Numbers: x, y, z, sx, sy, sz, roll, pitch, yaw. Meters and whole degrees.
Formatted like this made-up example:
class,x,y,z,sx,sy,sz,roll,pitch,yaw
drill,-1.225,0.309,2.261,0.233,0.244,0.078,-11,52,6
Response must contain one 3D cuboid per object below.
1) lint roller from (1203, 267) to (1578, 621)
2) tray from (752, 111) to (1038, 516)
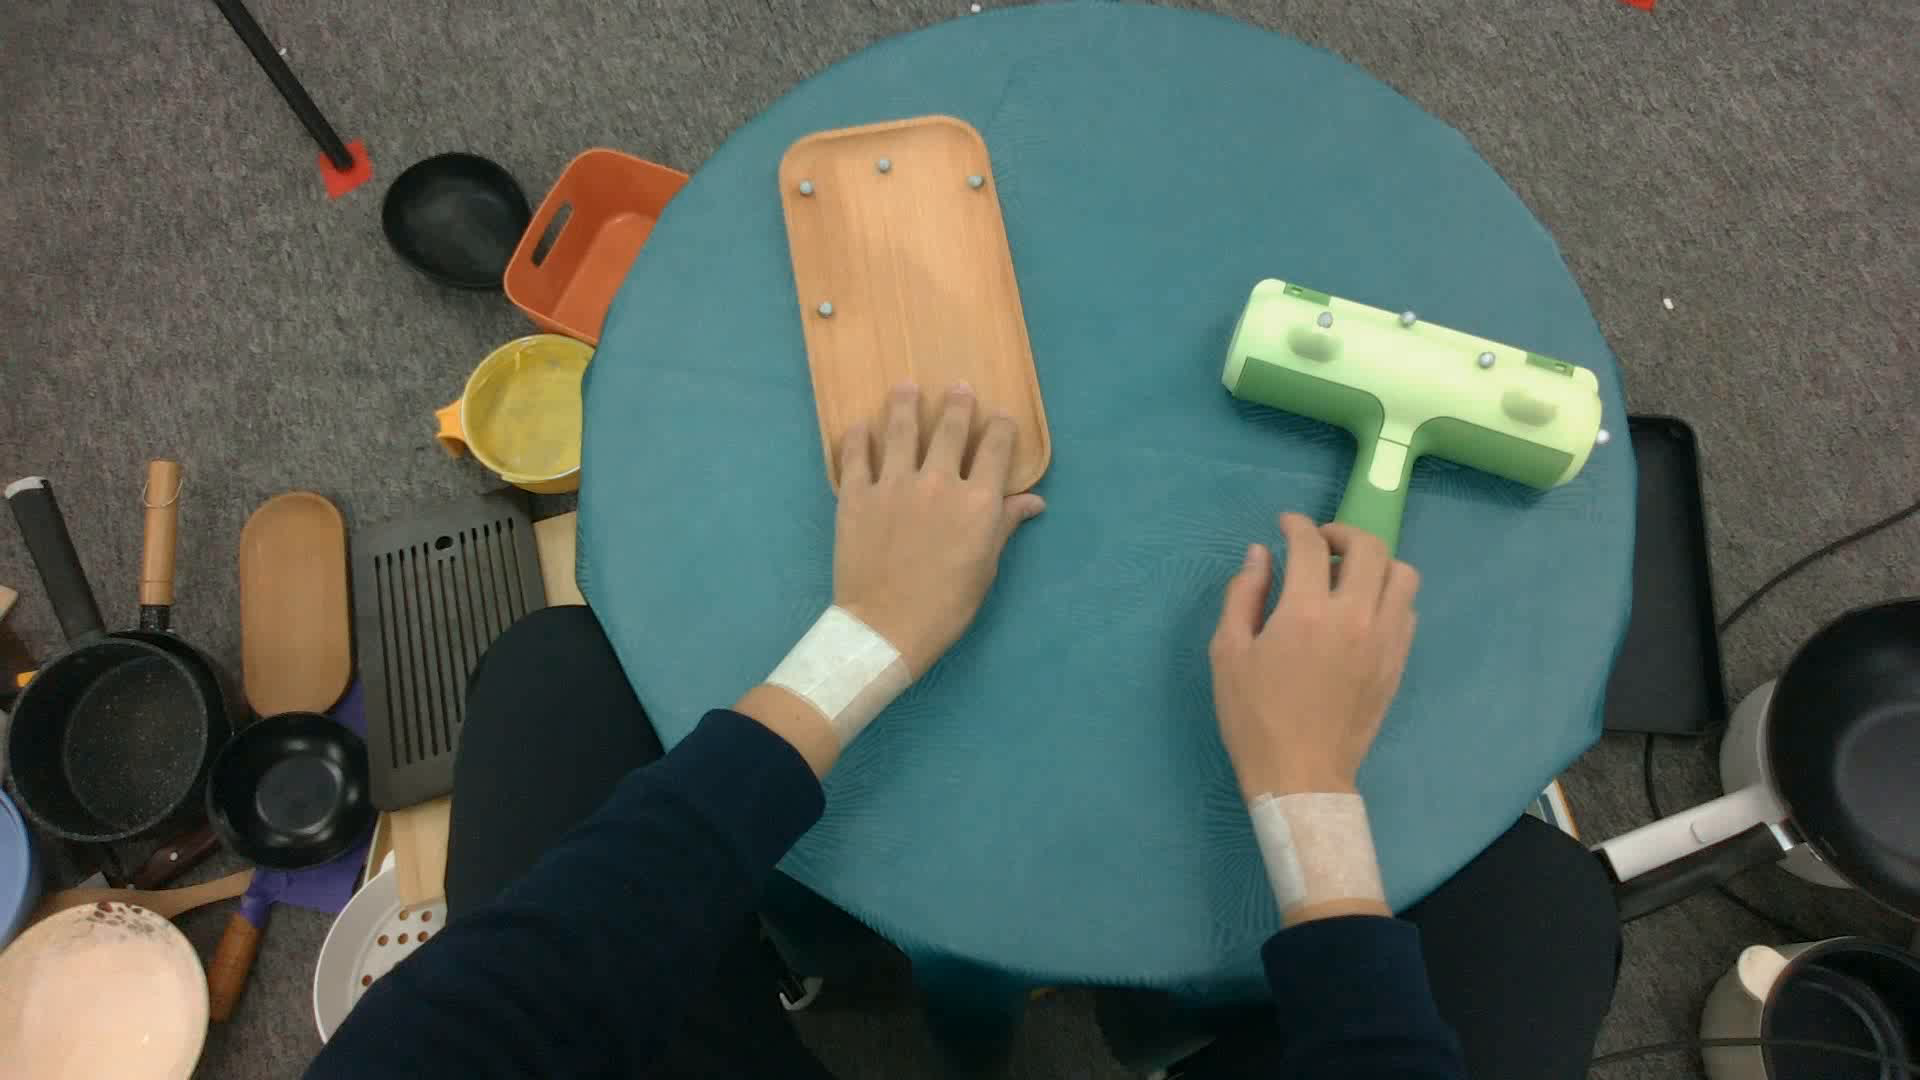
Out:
class,x,y,z,sx,sy,sz,roll,pitch,yaw
lint roller,0.221,-0.050,0.735,0.198,0.082,0.184,15,66,6
tray,-0.040,-0.136,0.799,0.130,0.023,0.251,-12,72,-2
